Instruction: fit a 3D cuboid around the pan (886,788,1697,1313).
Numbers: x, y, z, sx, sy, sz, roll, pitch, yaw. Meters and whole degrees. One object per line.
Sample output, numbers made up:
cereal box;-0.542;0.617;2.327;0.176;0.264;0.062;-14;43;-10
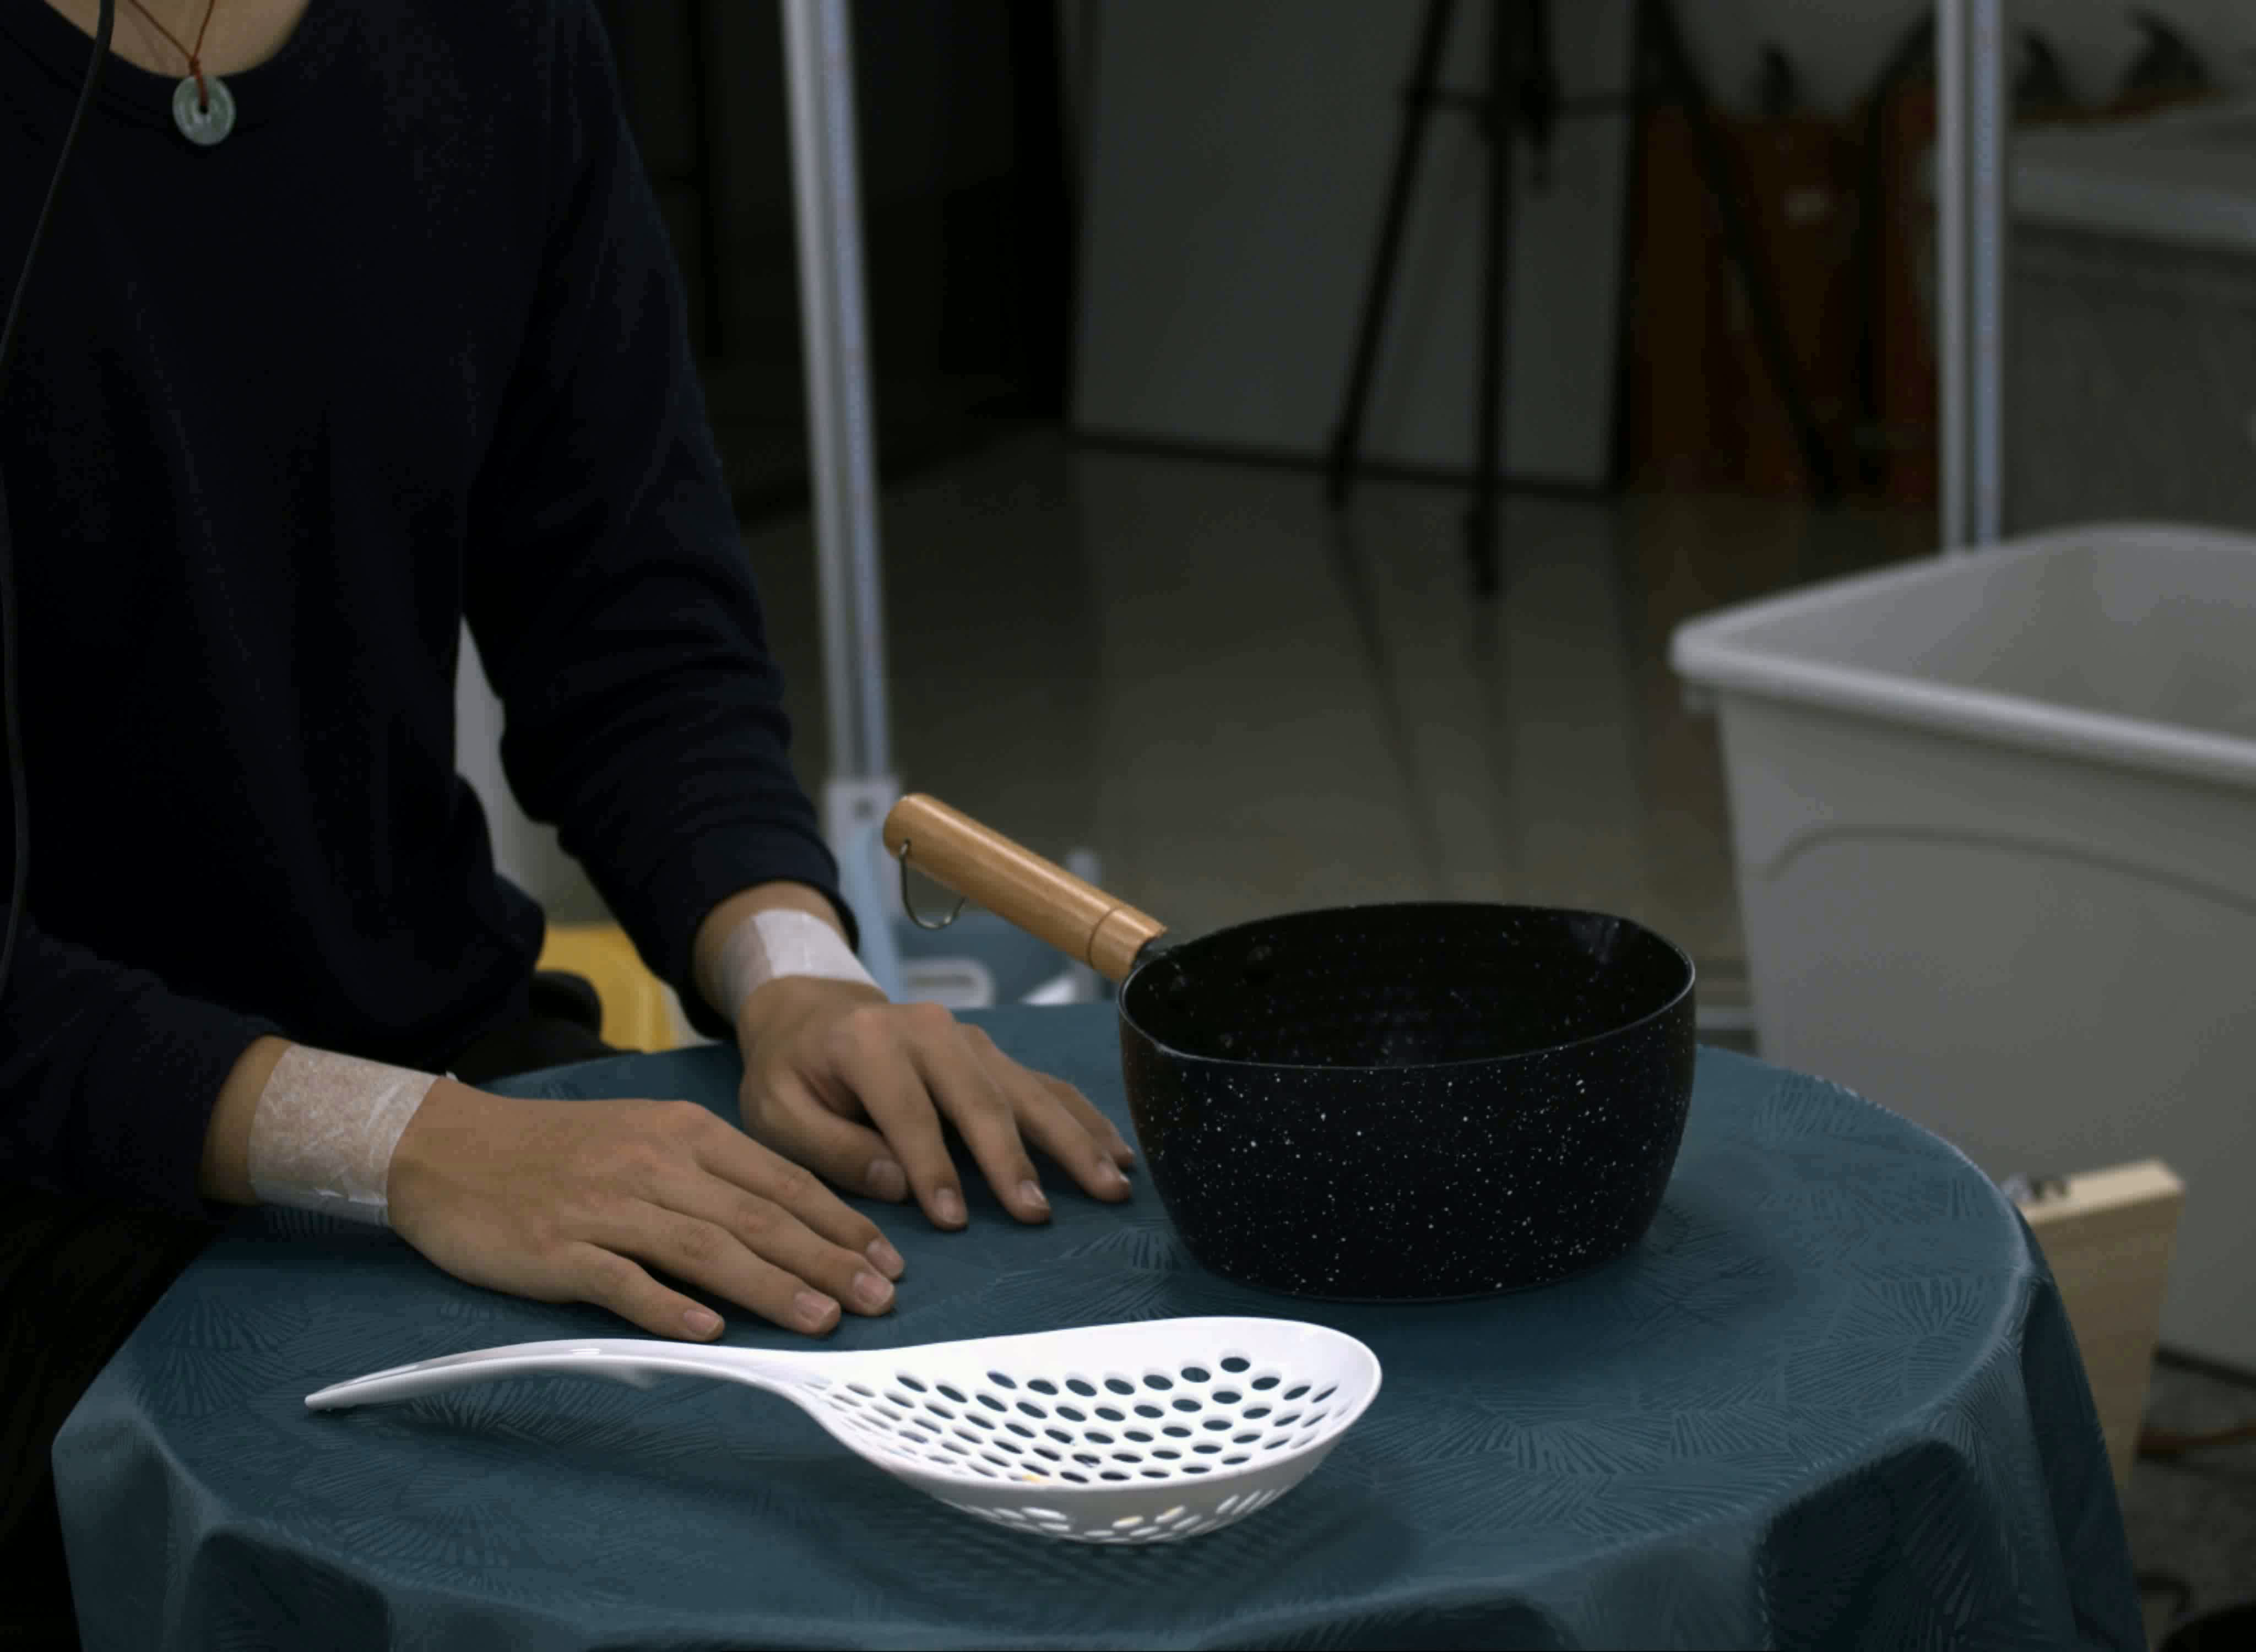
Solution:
pan;0.036;0.066;1.758;0.203;0.109;0.346;-17;20;-39

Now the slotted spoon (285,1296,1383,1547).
slotted spoon;-0.092;0.165;1.530;0.349;0.051;0.135;5;18;28
